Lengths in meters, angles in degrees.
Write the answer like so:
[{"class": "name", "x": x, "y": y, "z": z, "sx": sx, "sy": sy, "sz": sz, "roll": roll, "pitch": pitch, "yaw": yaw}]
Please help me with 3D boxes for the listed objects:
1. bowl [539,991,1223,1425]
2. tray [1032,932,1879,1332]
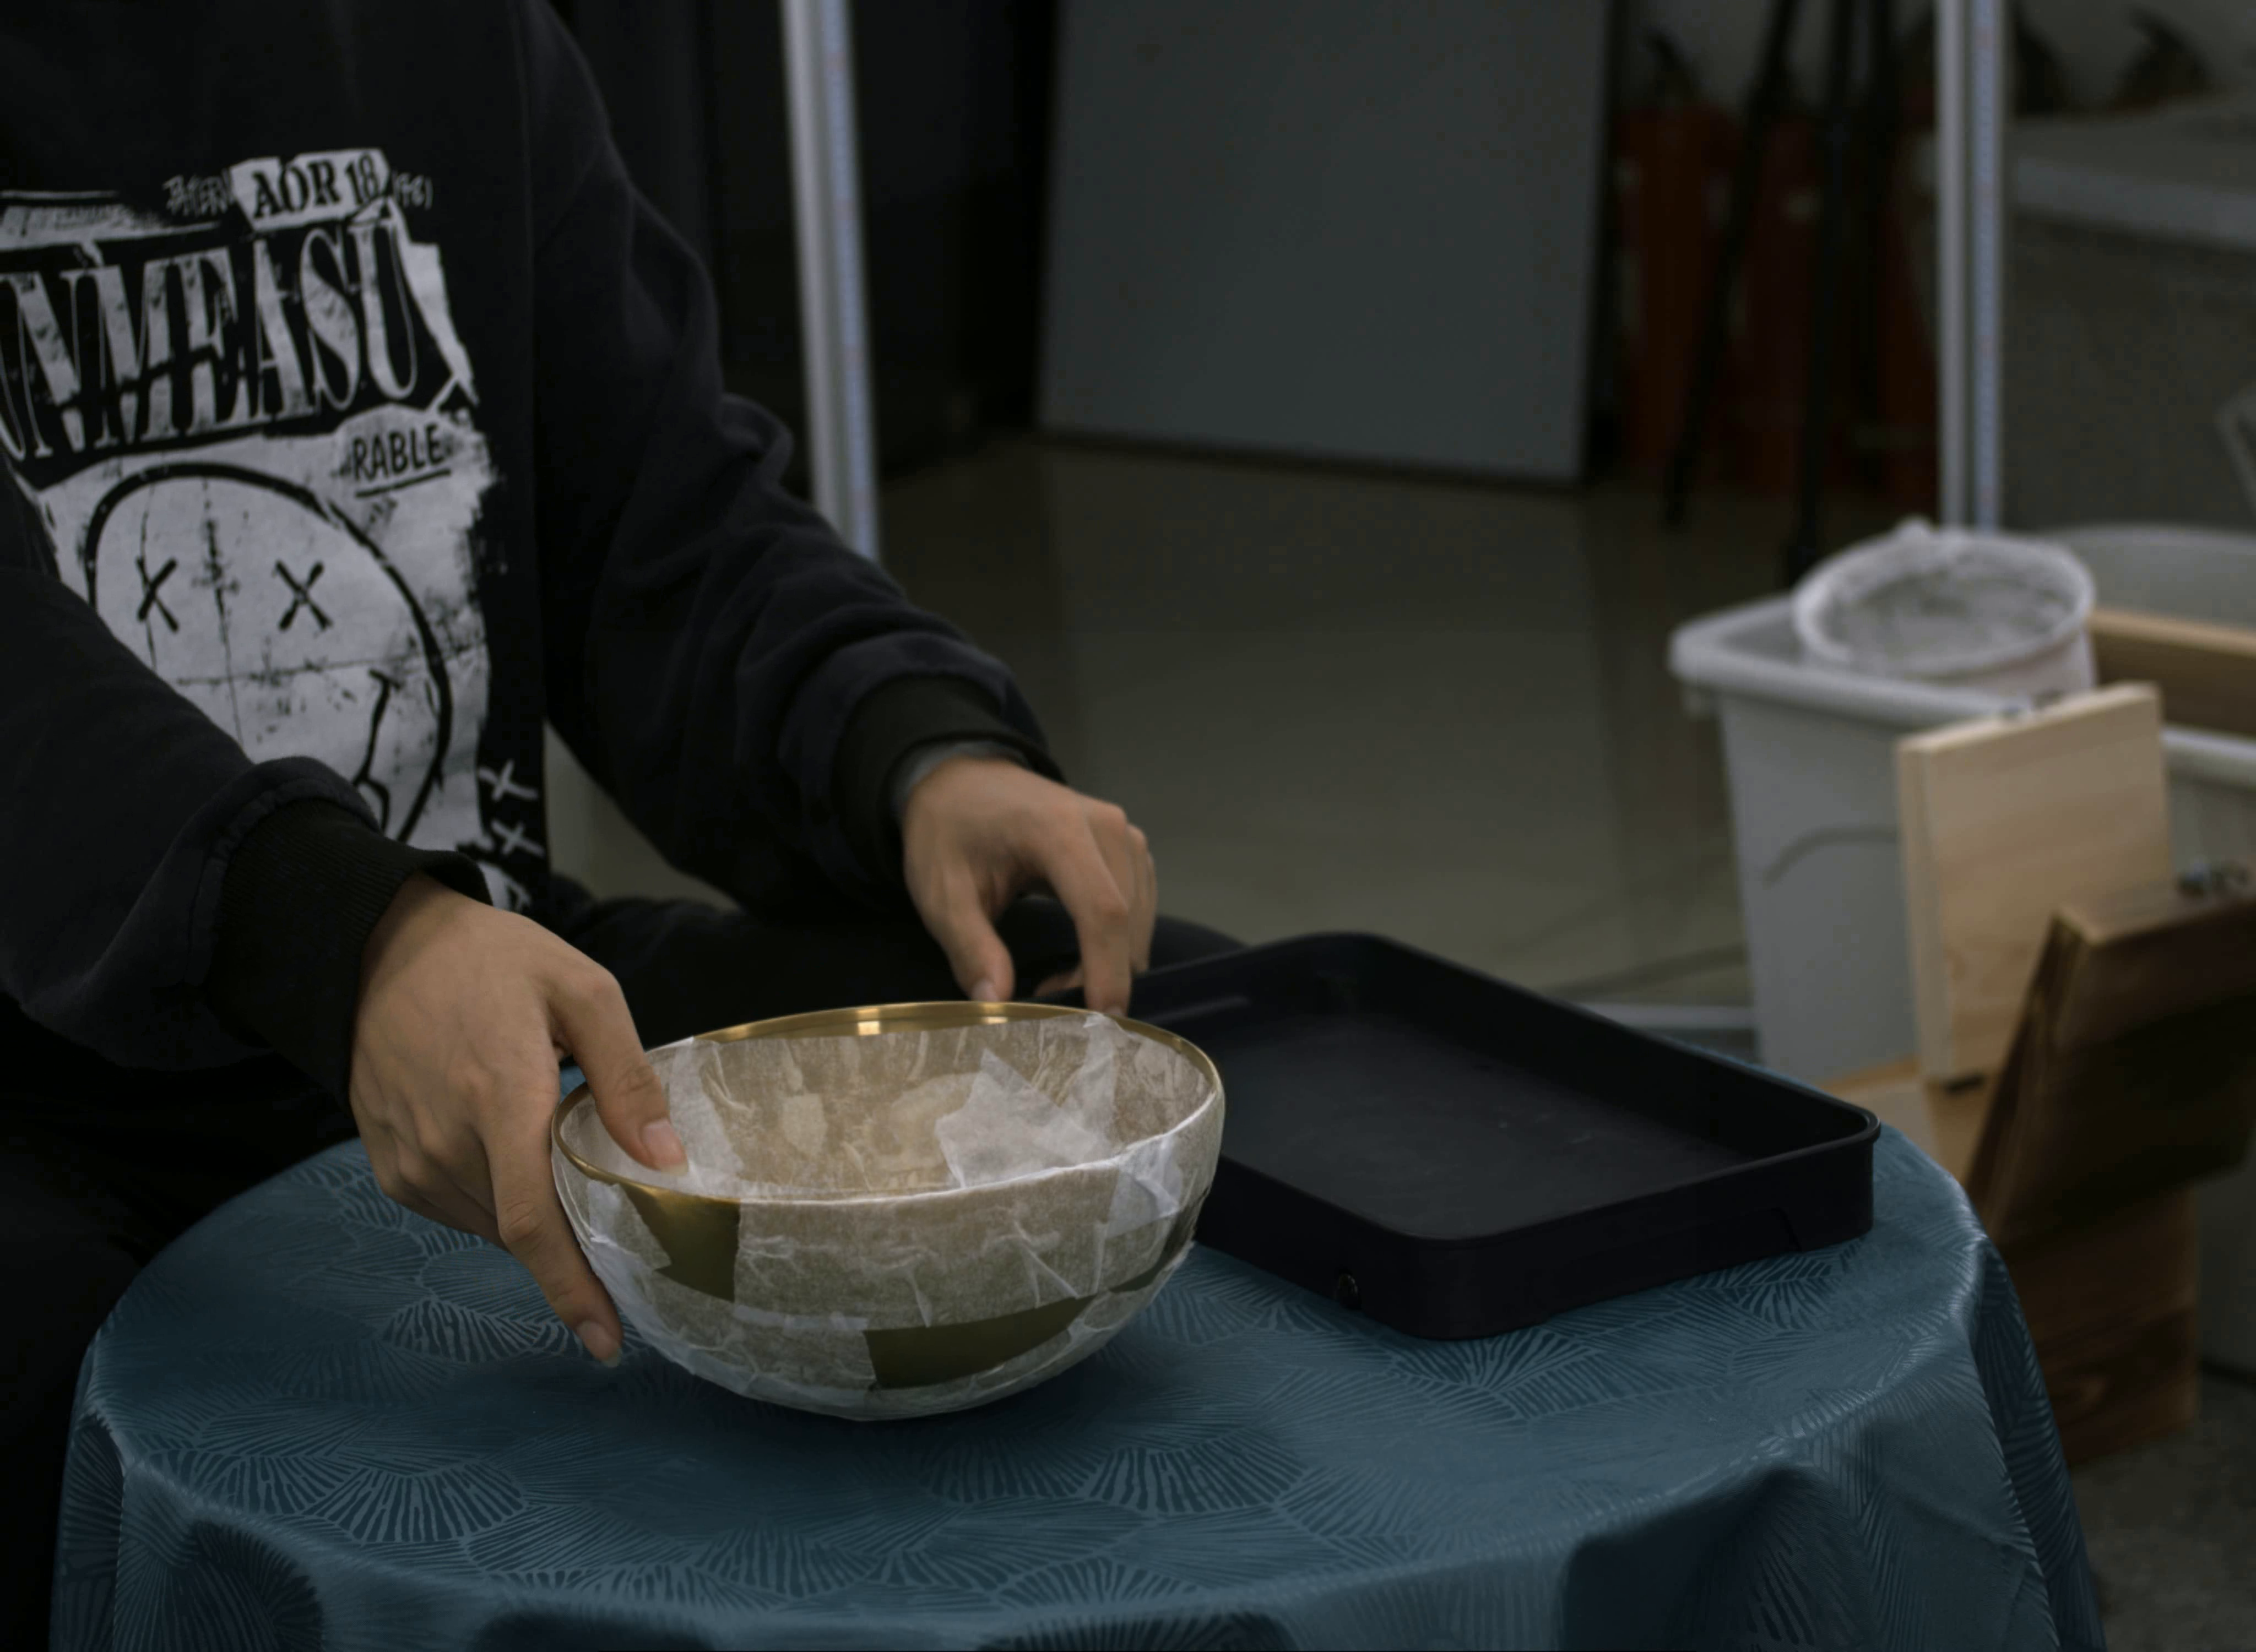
[{"class": "bowl", "x": -0.068, "y": 0.120, "z": 1.601, "sx": 0.212, "sy": 0.095, "sz": 0.215, "roll": -5, "pitch": 14, "yaw": 0}, {"class": "tray", "x": 0.088, "y": 0.095, "z": 1.768, "sx": 0.180, "sy": 0.037, "sz": 0.321, "roll": -13, "pitch": 15, "yaw": -28}]
